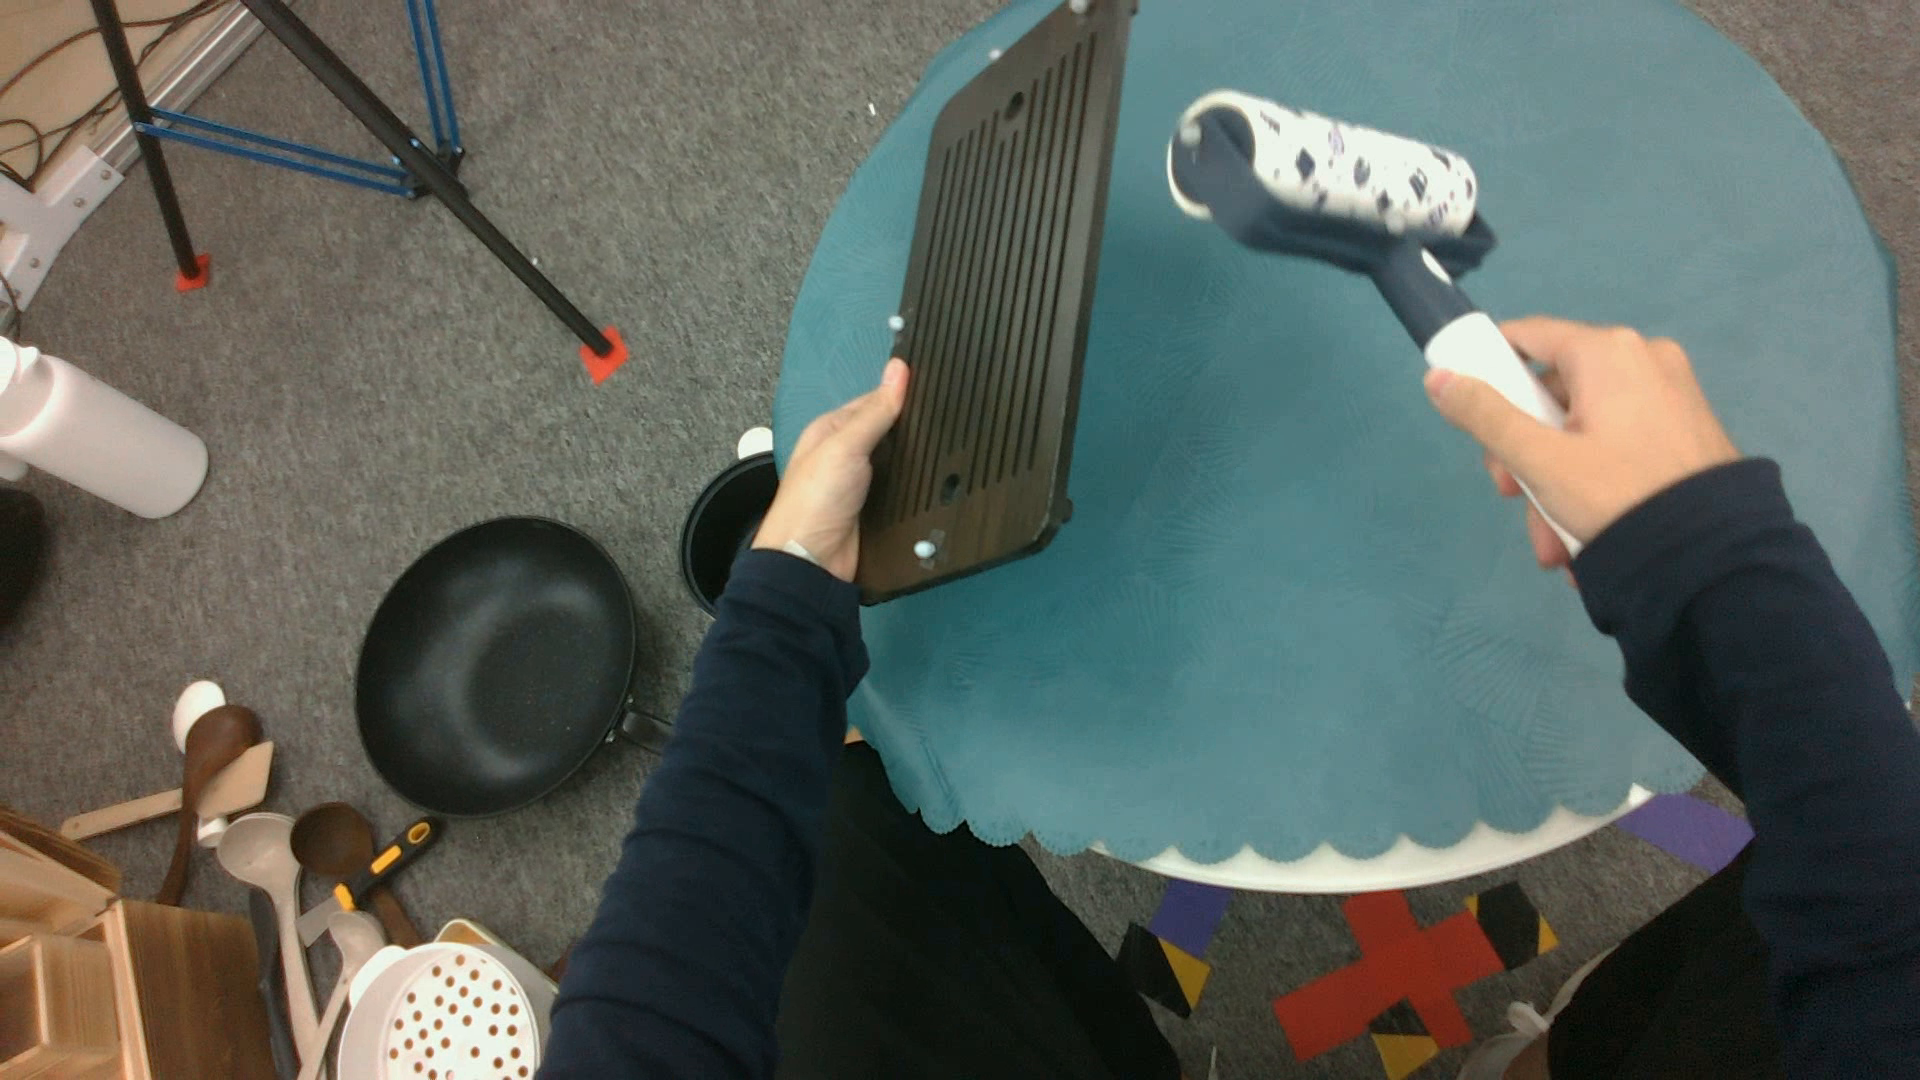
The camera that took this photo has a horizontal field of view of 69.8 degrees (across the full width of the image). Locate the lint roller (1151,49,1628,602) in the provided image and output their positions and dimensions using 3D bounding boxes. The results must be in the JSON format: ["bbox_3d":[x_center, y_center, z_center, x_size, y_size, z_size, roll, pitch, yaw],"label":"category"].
[{"bbox_3d":[0.191,-0.087,0.548,0.050,0.177,0.247,-47,61,36],"label":"lint roller"}]

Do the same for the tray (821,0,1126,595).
[{"bbox_3d":[0.008,-0.126,0.678,0.169,0.018,0.307,-17,57,52],"label":"tray"}]
